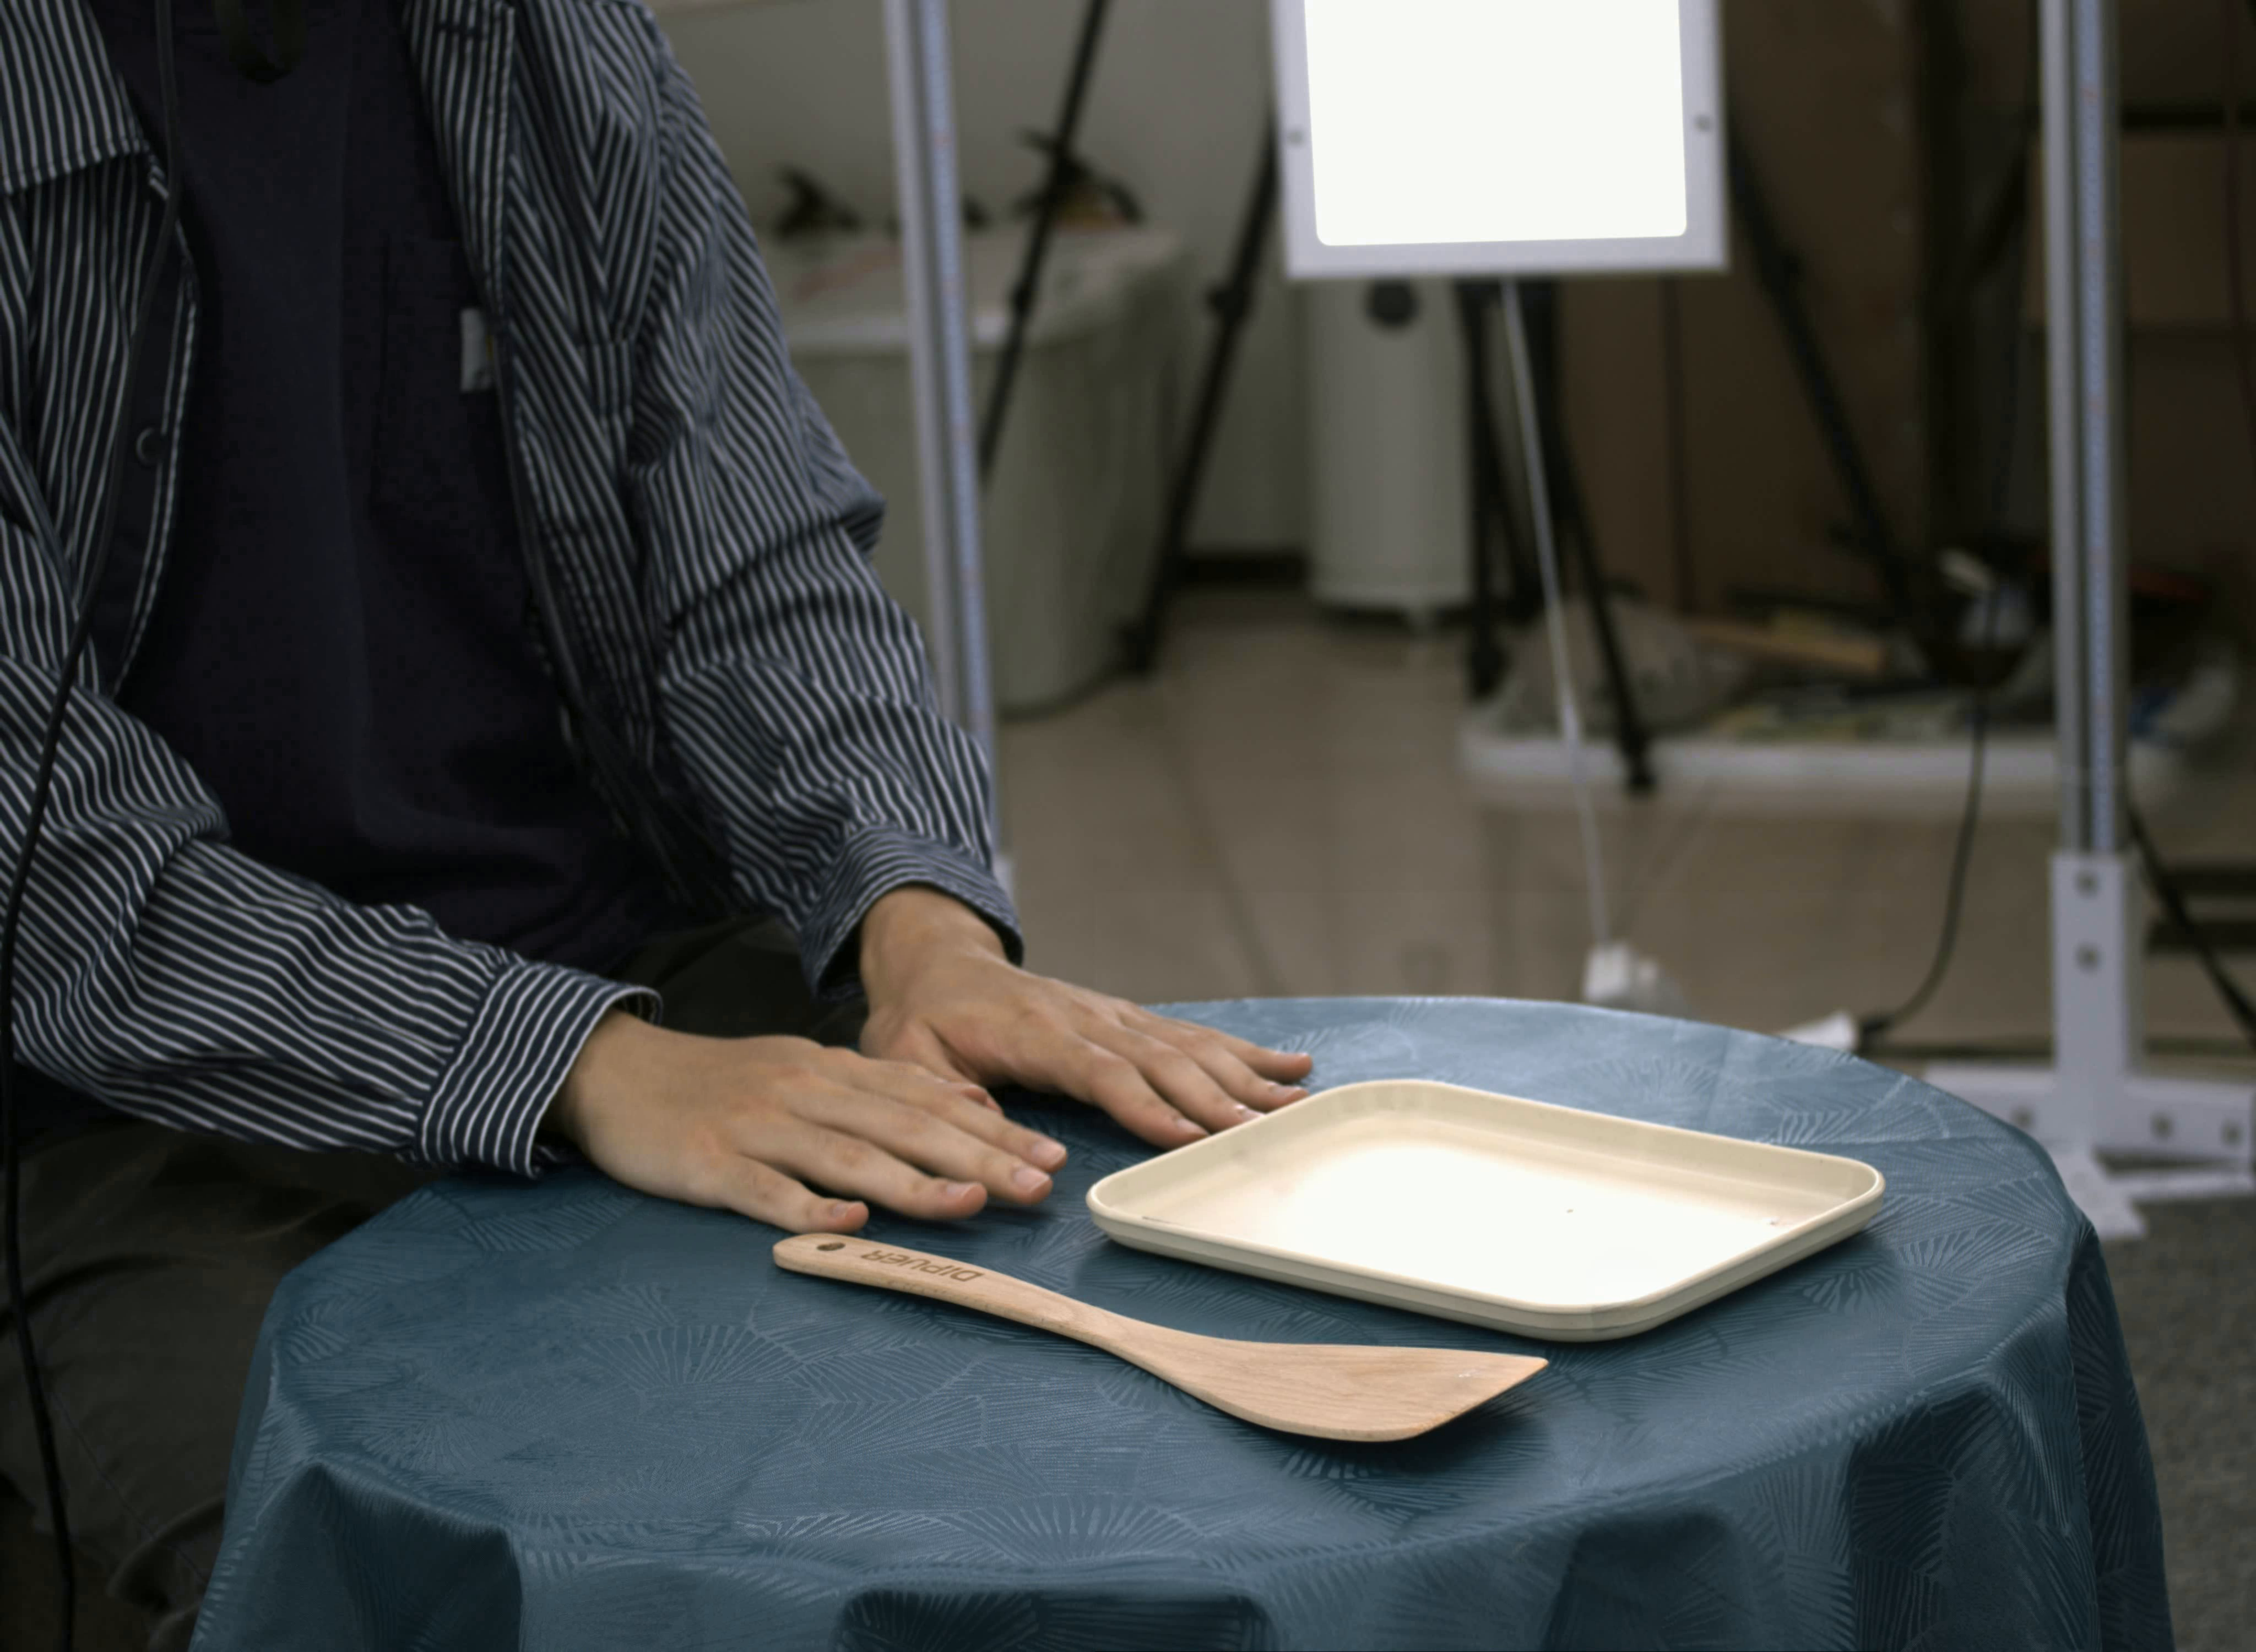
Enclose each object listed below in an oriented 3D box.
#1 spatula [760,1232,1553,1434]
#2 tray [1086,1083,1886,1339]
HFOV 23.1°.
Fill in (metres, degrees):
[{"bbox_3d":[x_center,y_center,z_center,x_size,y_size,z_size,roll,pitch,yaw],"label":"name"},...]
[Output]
[{"bbox_3d":[-0.002,0.155,1.742,0.078,0.016,0.335,-17,18,-42],"label":"spatula"},{"bbox_3d":[0.118,0.126,1.814,0.245,0.017,0.167,8,19,44],"label":"tray"}]
